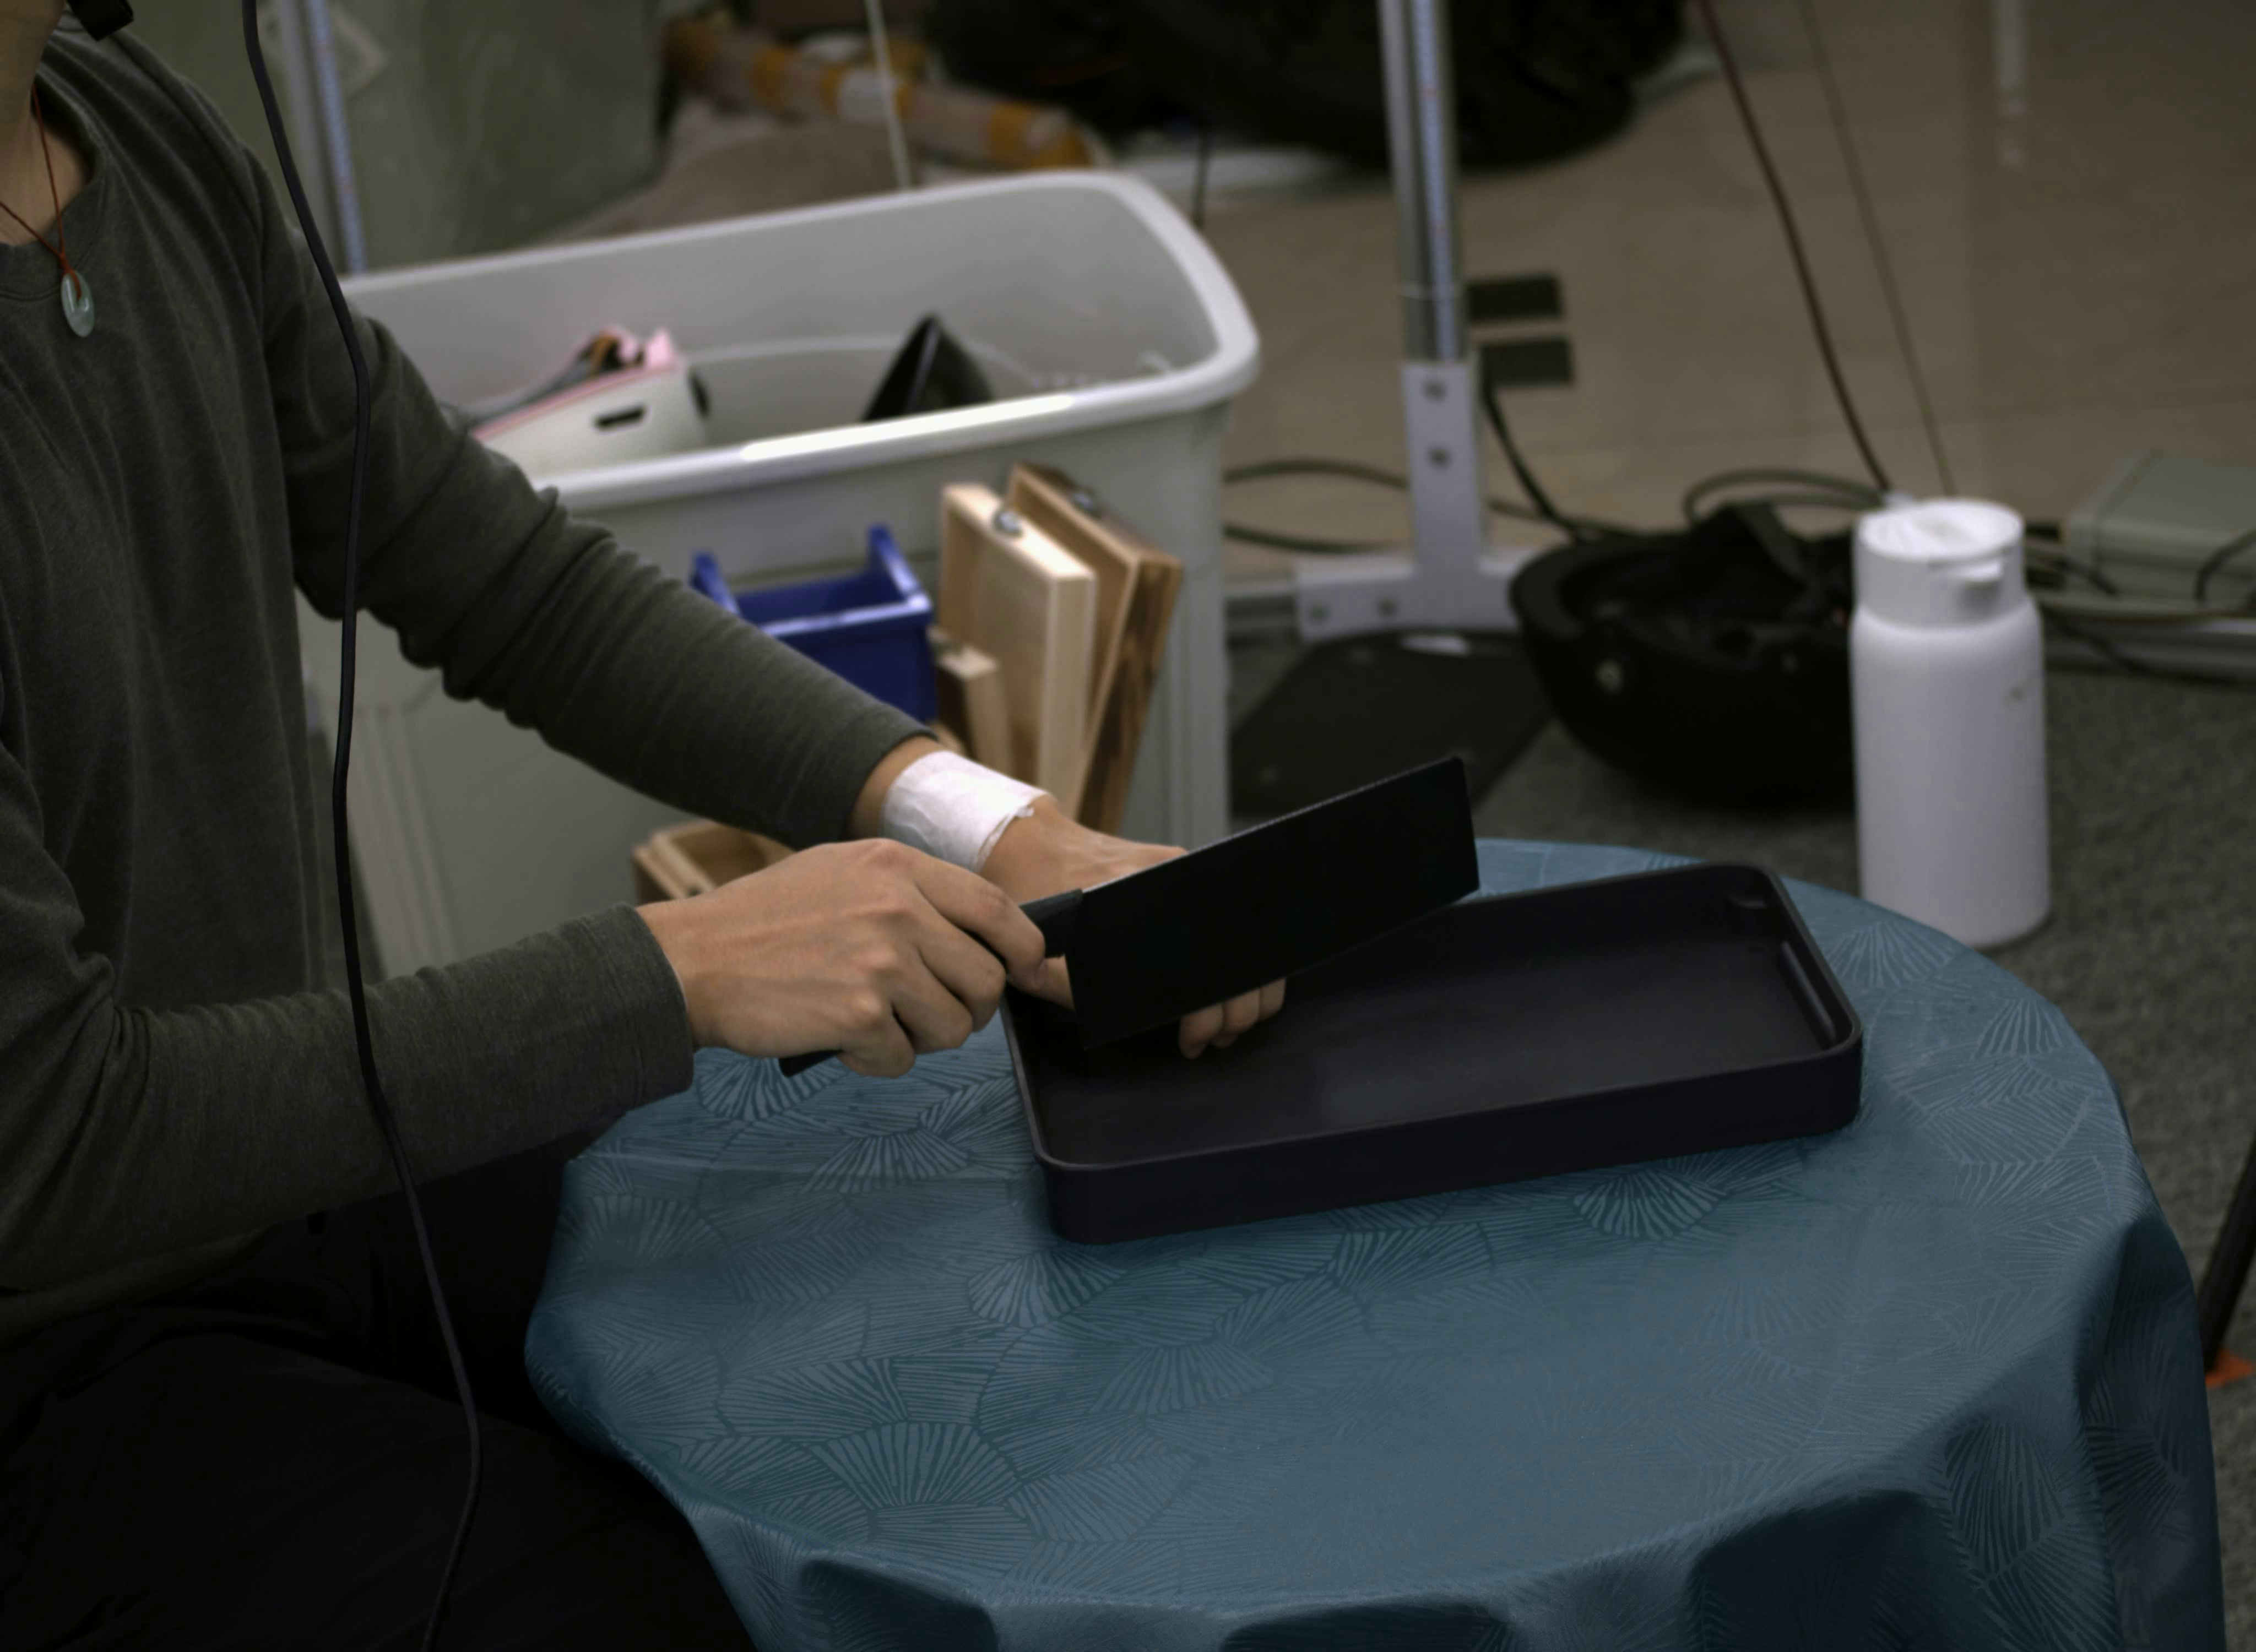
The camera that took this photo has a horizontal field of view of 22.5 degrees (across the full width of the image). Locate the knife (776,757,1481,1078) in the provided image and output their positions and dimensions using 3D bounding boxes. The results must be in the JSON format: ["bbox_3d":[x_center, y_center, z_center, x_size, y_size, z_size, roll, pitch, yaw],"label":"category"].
[{"bbox_3d":[0.004,0.044,2.183,0.301,0.082,0.020,-16,26,-22],"label":"knife"}]

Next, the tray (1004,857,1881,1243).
[{"bbox_3d":[0.119,0.084,2.196,0.317,0.037,0.181,-9,25,-6],"label":"tray"}]
